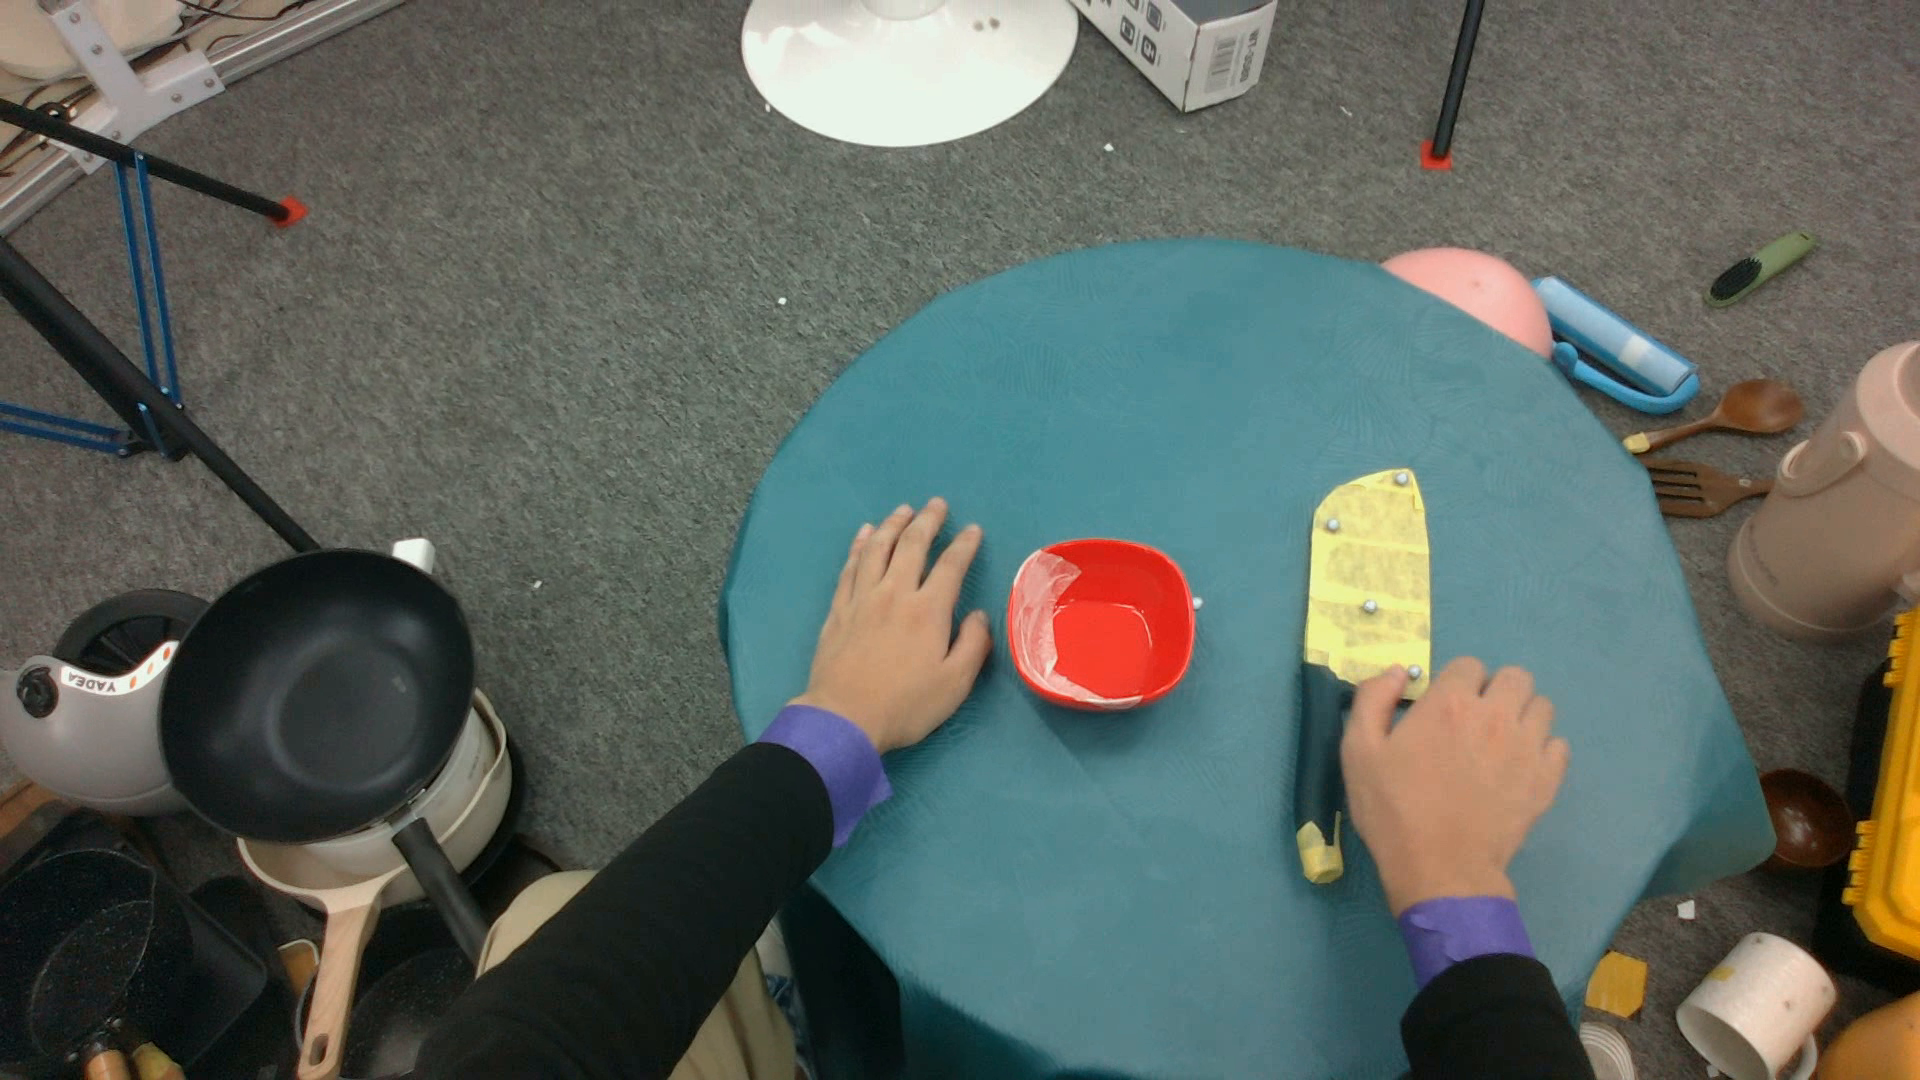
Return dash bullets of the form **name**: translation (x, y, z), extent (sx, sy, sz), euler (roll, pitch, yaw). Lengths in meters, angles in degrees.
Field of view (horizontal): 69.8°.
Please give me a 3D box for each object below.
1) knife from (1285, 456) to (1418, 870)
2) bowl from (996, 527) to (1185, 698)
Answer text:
- **knife**: translation (0.235, 0.064, 0.832), extent (0.081, 0.027, 0.291), euler (9, 58, 11)
- **bowl**: translation (0.076, 0.051, 0.824), extent (0.119, 0.051, 0.119), euler (0, 57, 1)
